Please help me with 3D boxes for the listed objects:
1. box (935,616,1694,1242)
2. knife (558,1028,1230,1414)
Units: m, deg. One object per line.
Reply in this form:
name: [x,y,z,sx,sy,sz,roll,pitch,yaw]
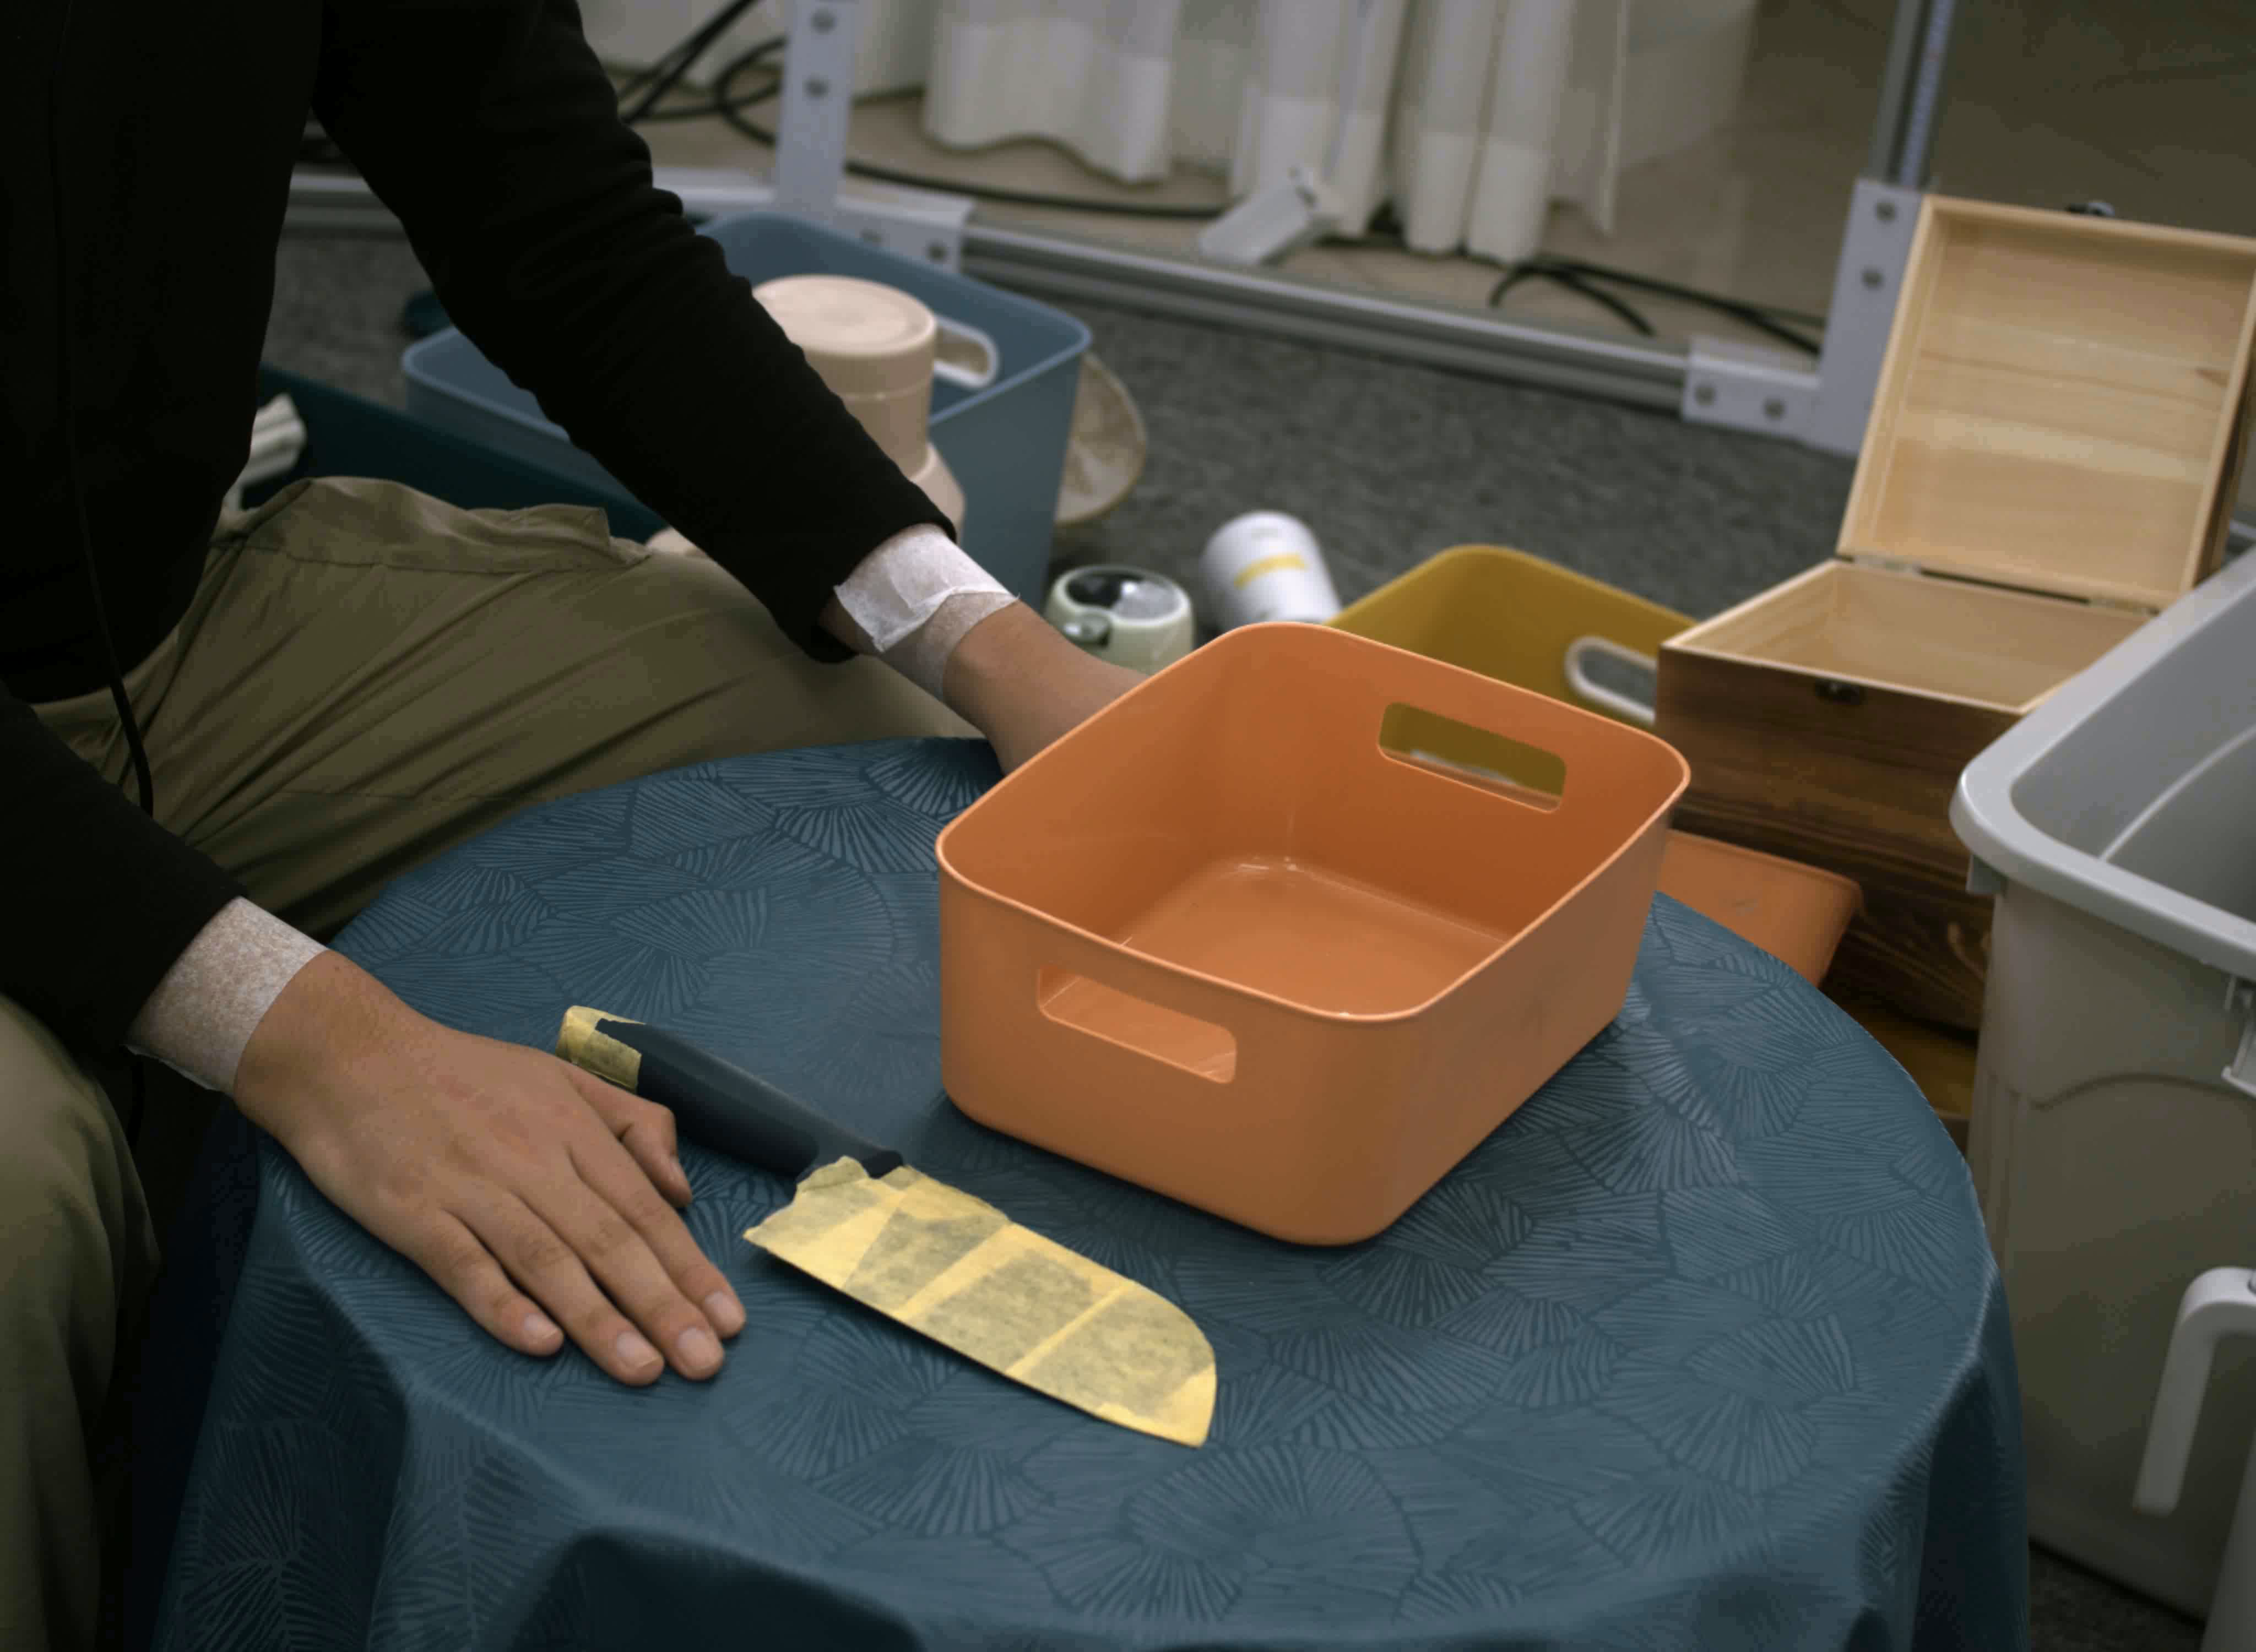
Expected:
box: [0.062,0.034,1.876,0.200,0.102,0.273,20,30,23]
knife: [-0.085,0.132,1.752,0.291,0.027,0.081,25,30,30]
